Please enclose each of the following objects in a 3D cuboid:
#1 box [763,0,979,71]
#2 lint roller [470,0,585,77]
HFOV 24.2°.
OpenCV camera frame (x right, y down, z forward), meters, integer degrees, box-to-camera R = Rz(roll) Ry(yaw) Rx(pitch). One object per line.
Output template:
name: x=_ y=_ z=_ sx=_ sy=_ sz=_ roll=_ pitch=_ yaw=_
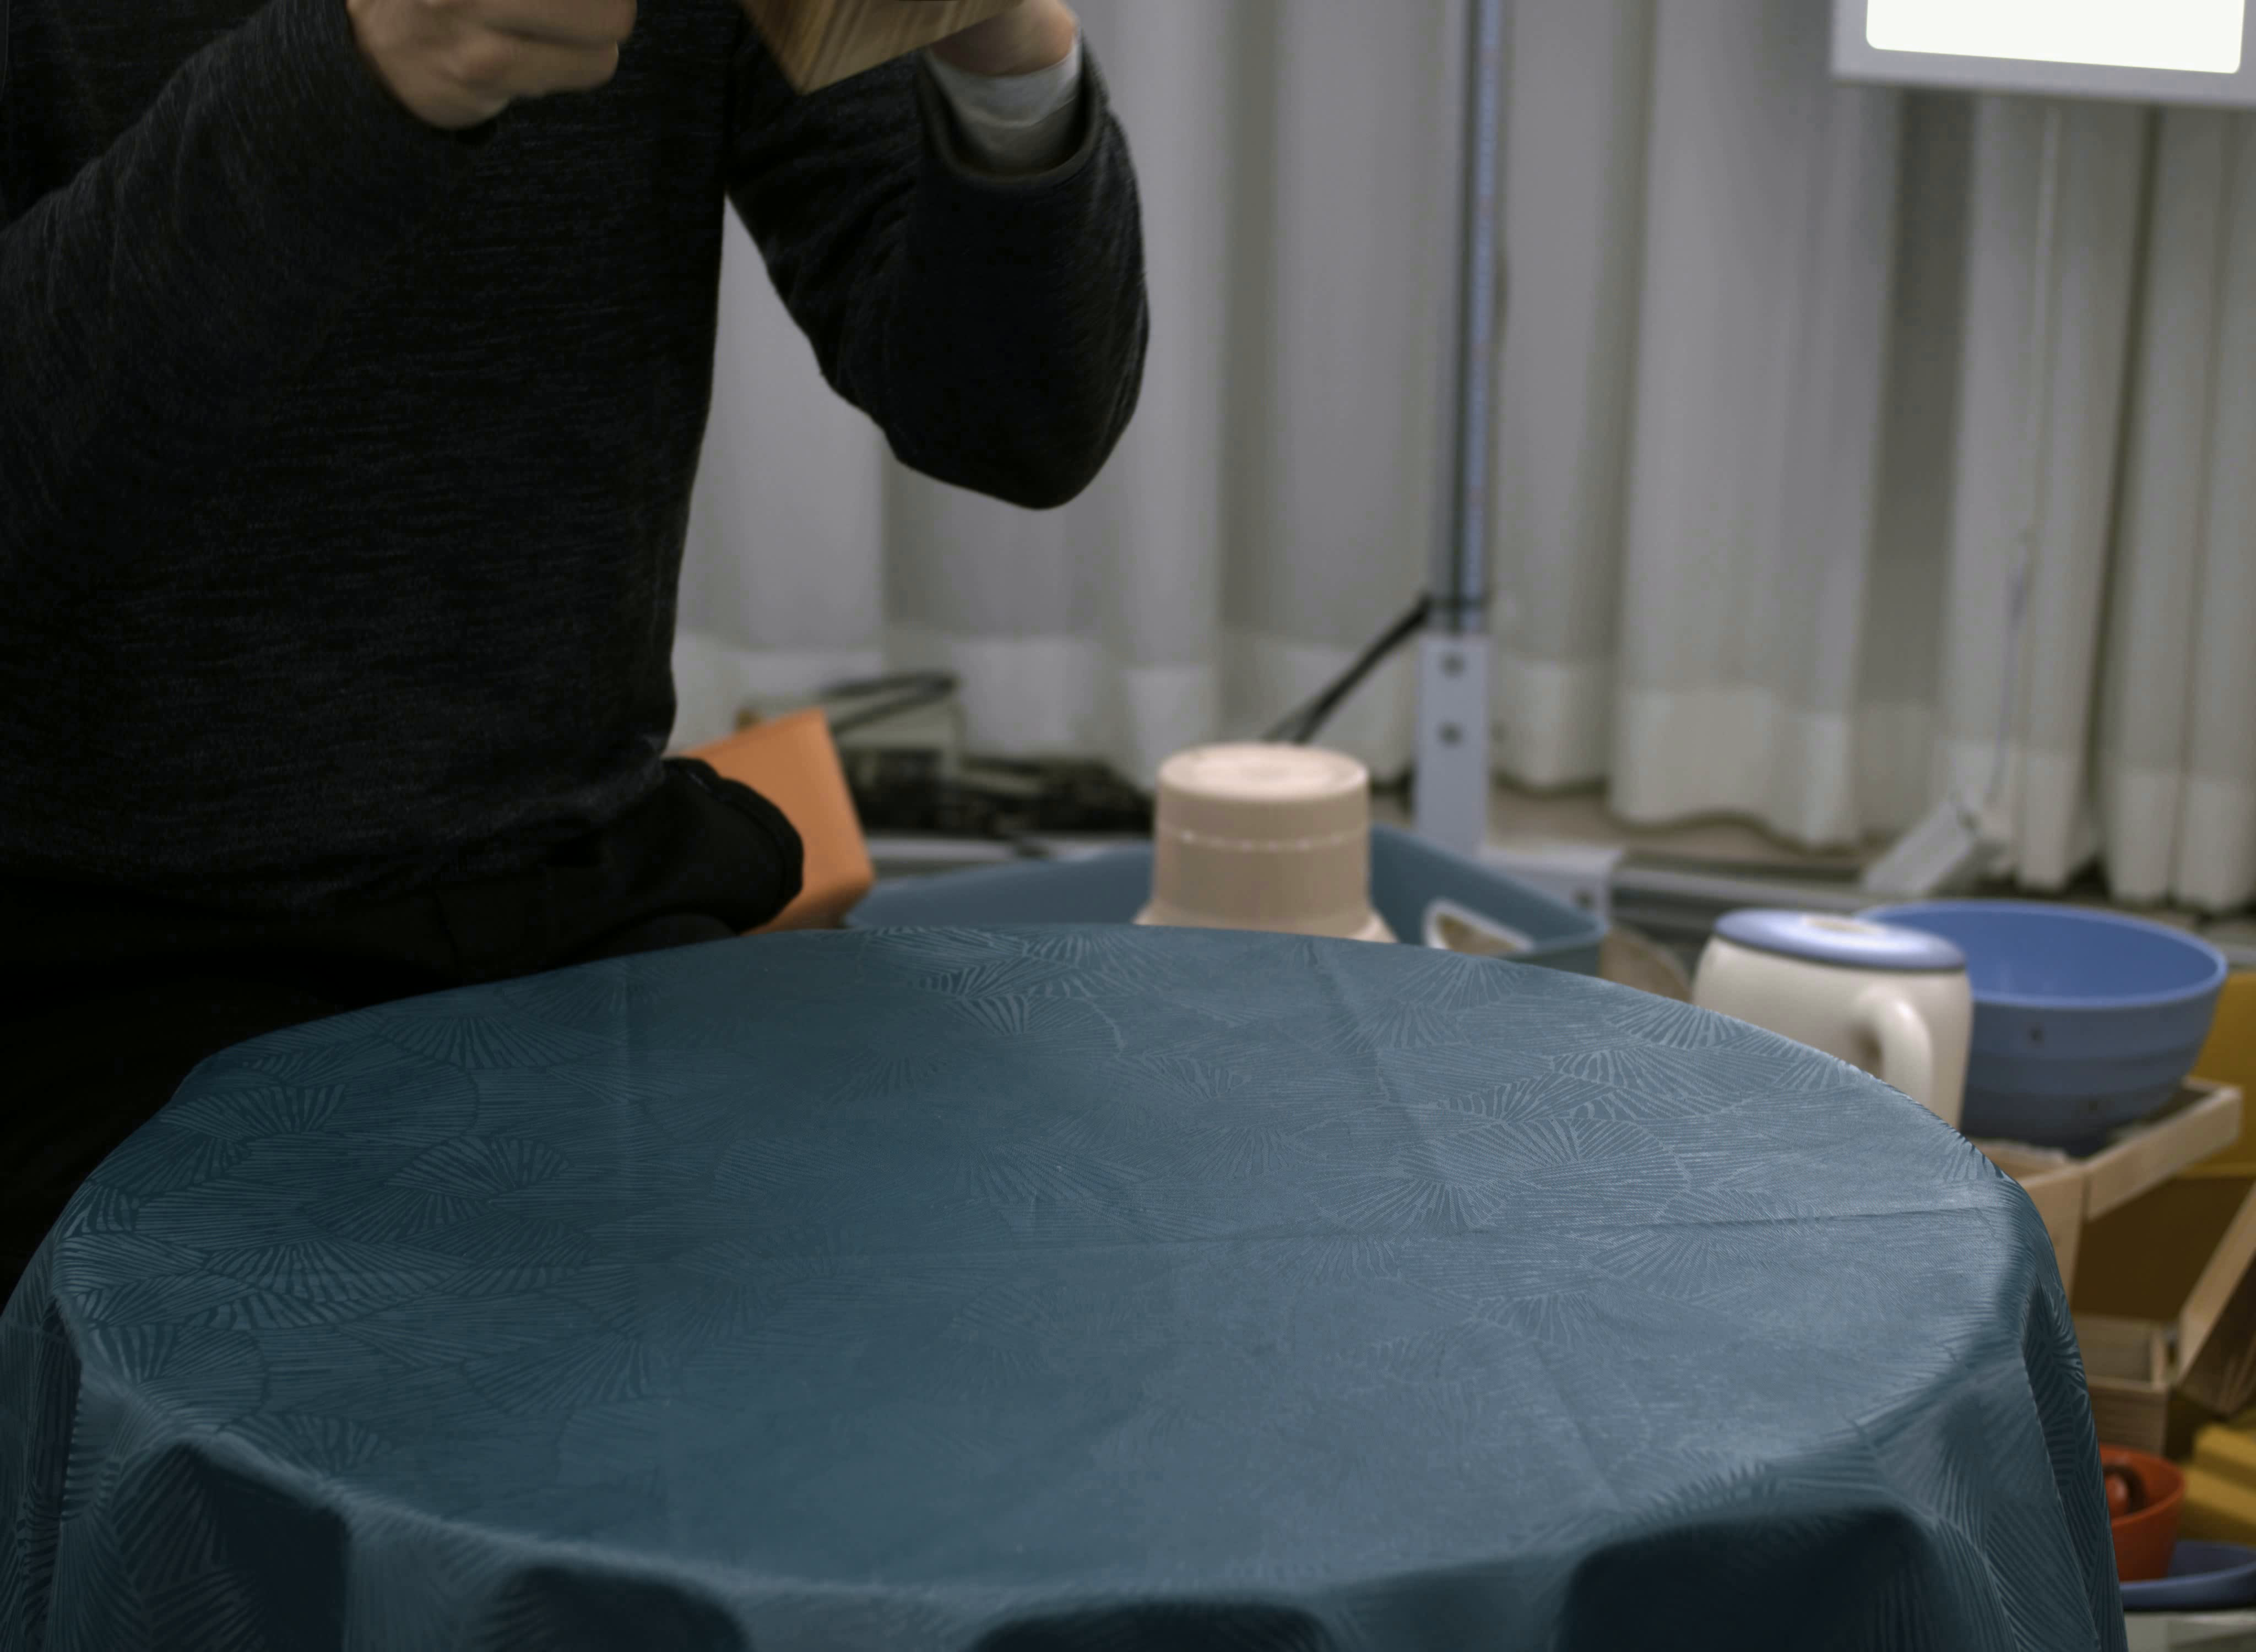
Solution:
box: x=-0.061 y=-0.319 z=1.462 sx=0.080 sy=0.107 sz=0.212 roll=-26 pitch=-13 yaw=-25
lint roller: x=-0.158 y=-0.276 z=1.487 sx=0.050 sy=0.181 sz=0.132 roll=-18 pitch=69 yaw=-46
